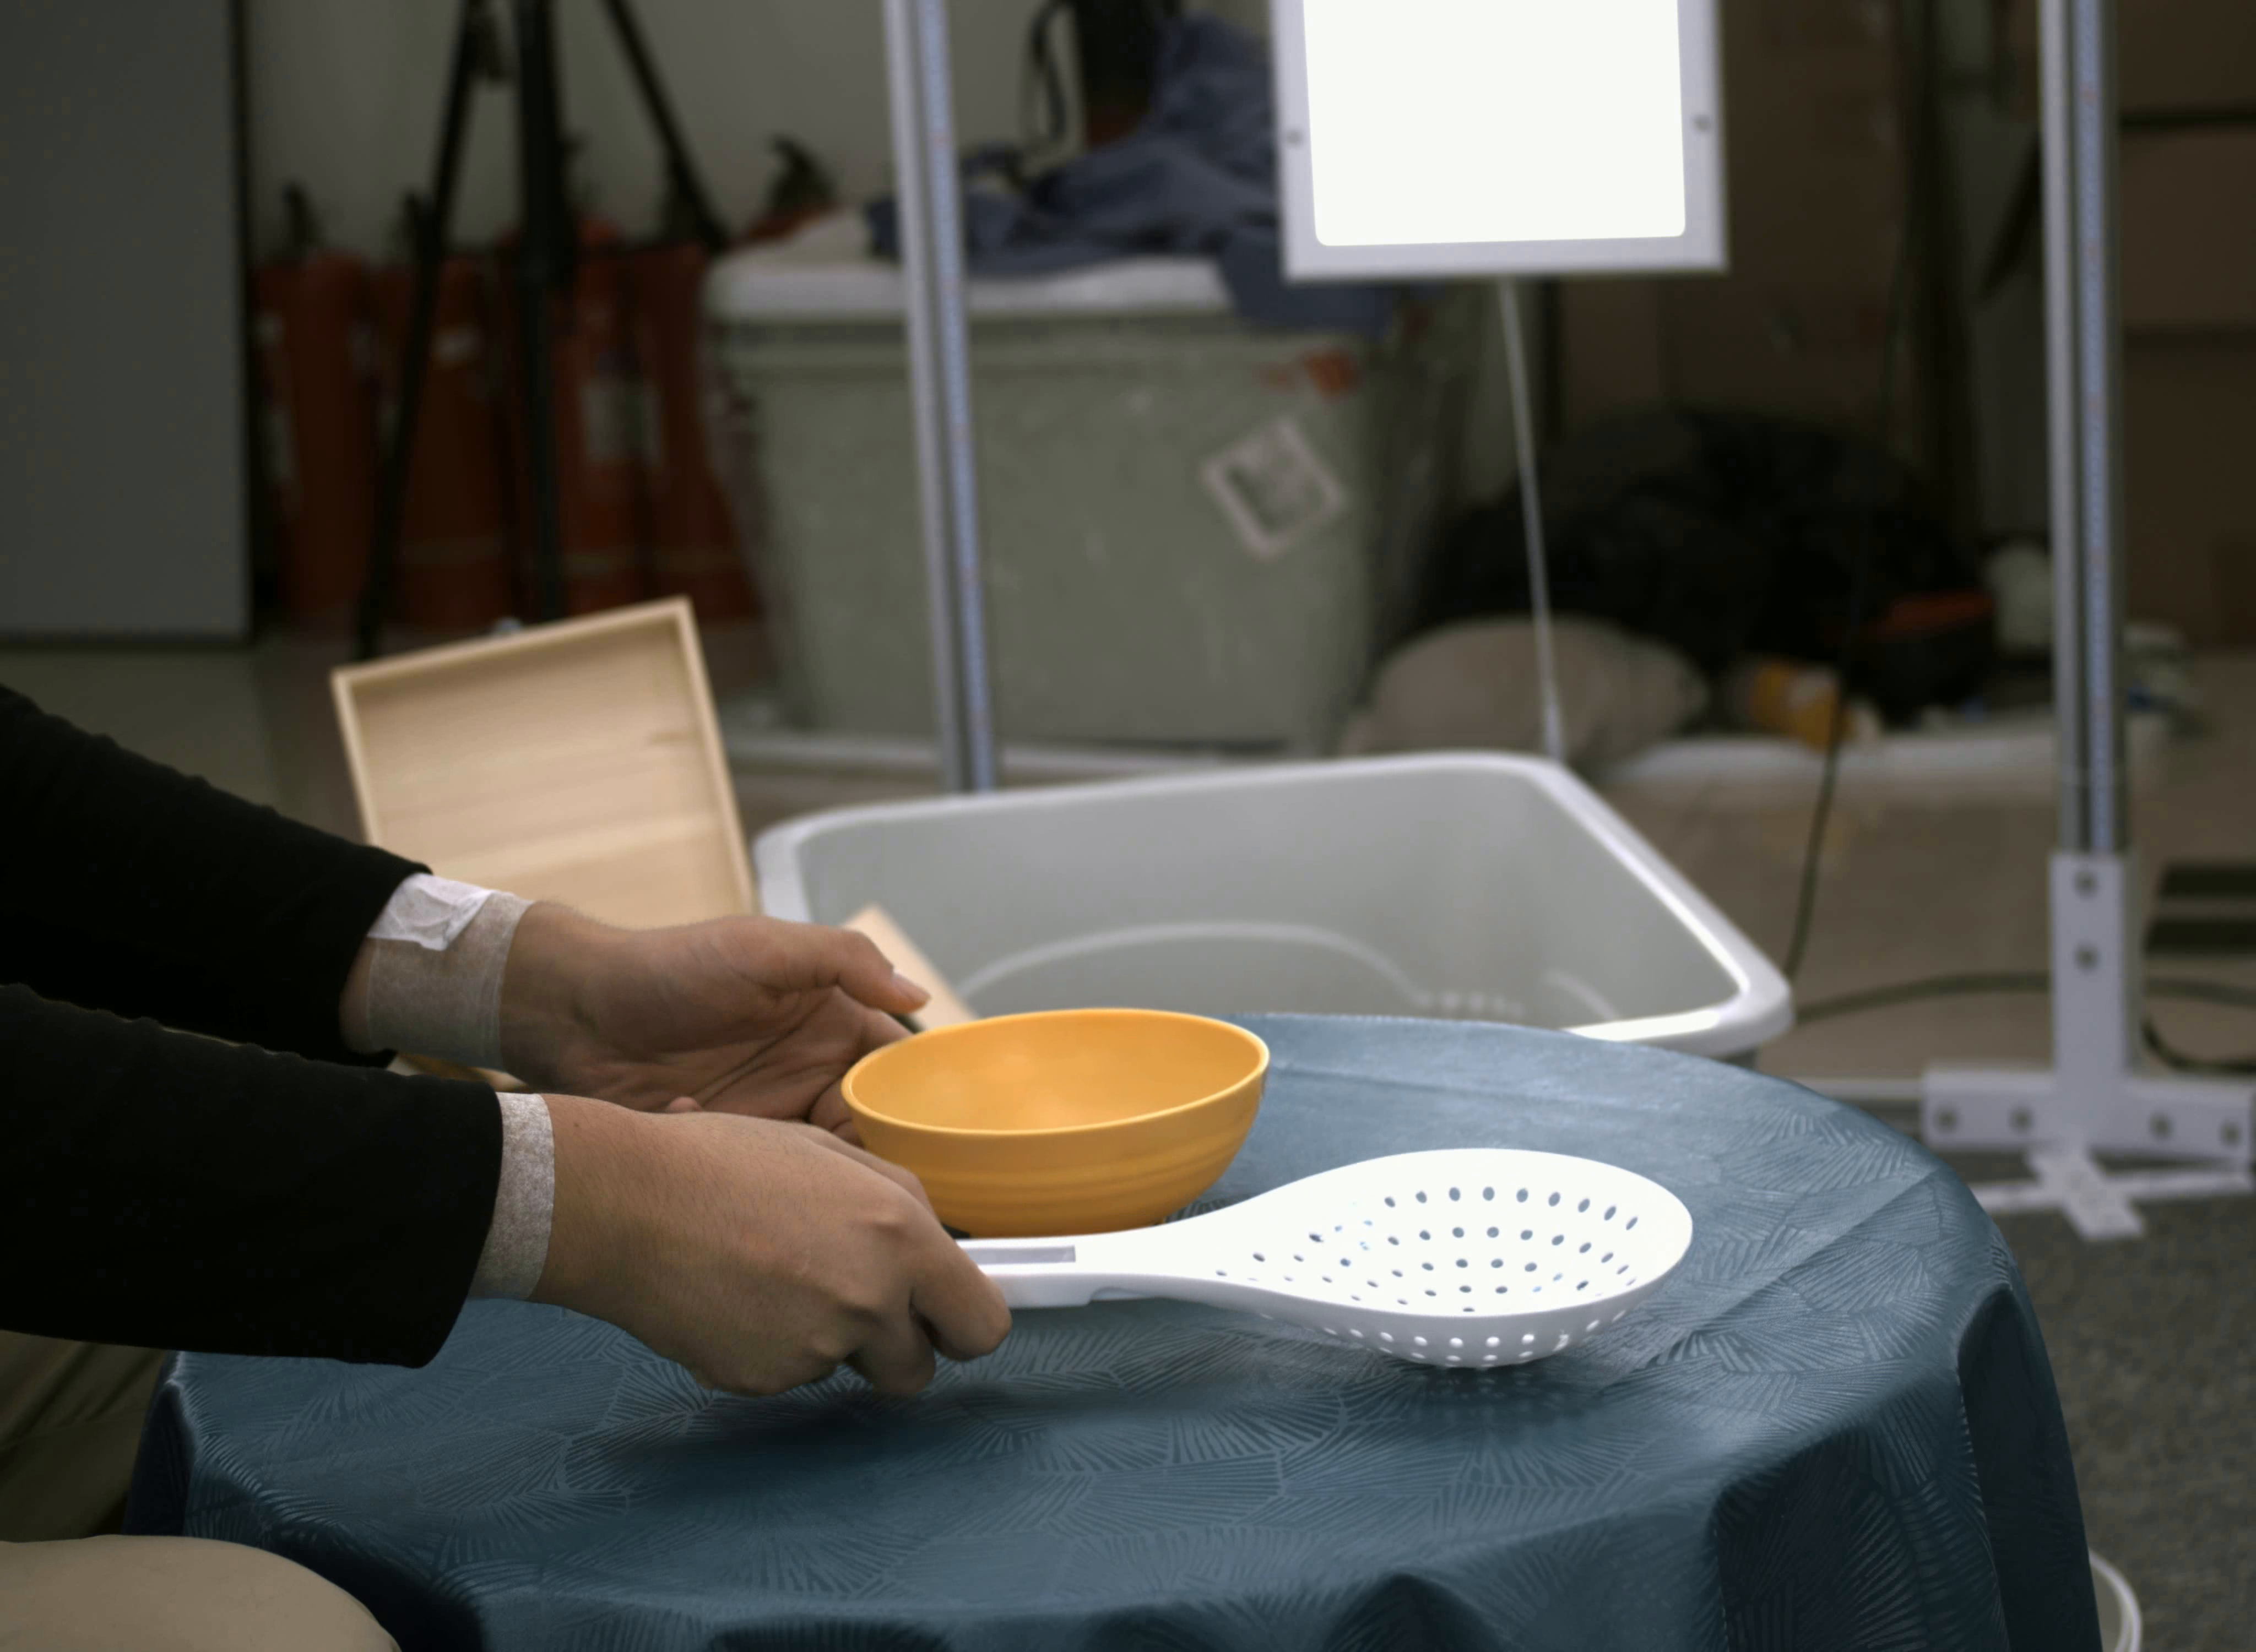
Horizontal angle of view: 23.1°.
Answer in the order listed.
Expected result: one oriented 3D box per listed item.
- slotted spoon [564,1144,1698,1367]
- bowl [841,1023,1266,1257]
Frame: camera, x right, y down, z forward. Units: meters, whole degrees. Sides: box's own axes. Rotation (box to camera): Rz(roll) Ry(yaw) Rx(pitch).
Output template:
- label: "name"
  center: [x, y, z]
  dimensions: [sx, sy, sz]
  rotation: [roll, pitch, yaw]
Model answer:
- label: "slotted spoon"
  center: [0.001, 0.134, 1.703]
  dimensions: [0.348, 0.046, 0.135]
  rotation: [2, 19, -1]
- label: "bowl"
  center: [-0.023, 0.111, 1.853]
  dimensions: [0.145, 0.060, 0.145]
  rotation: [-5, 12, 0]
